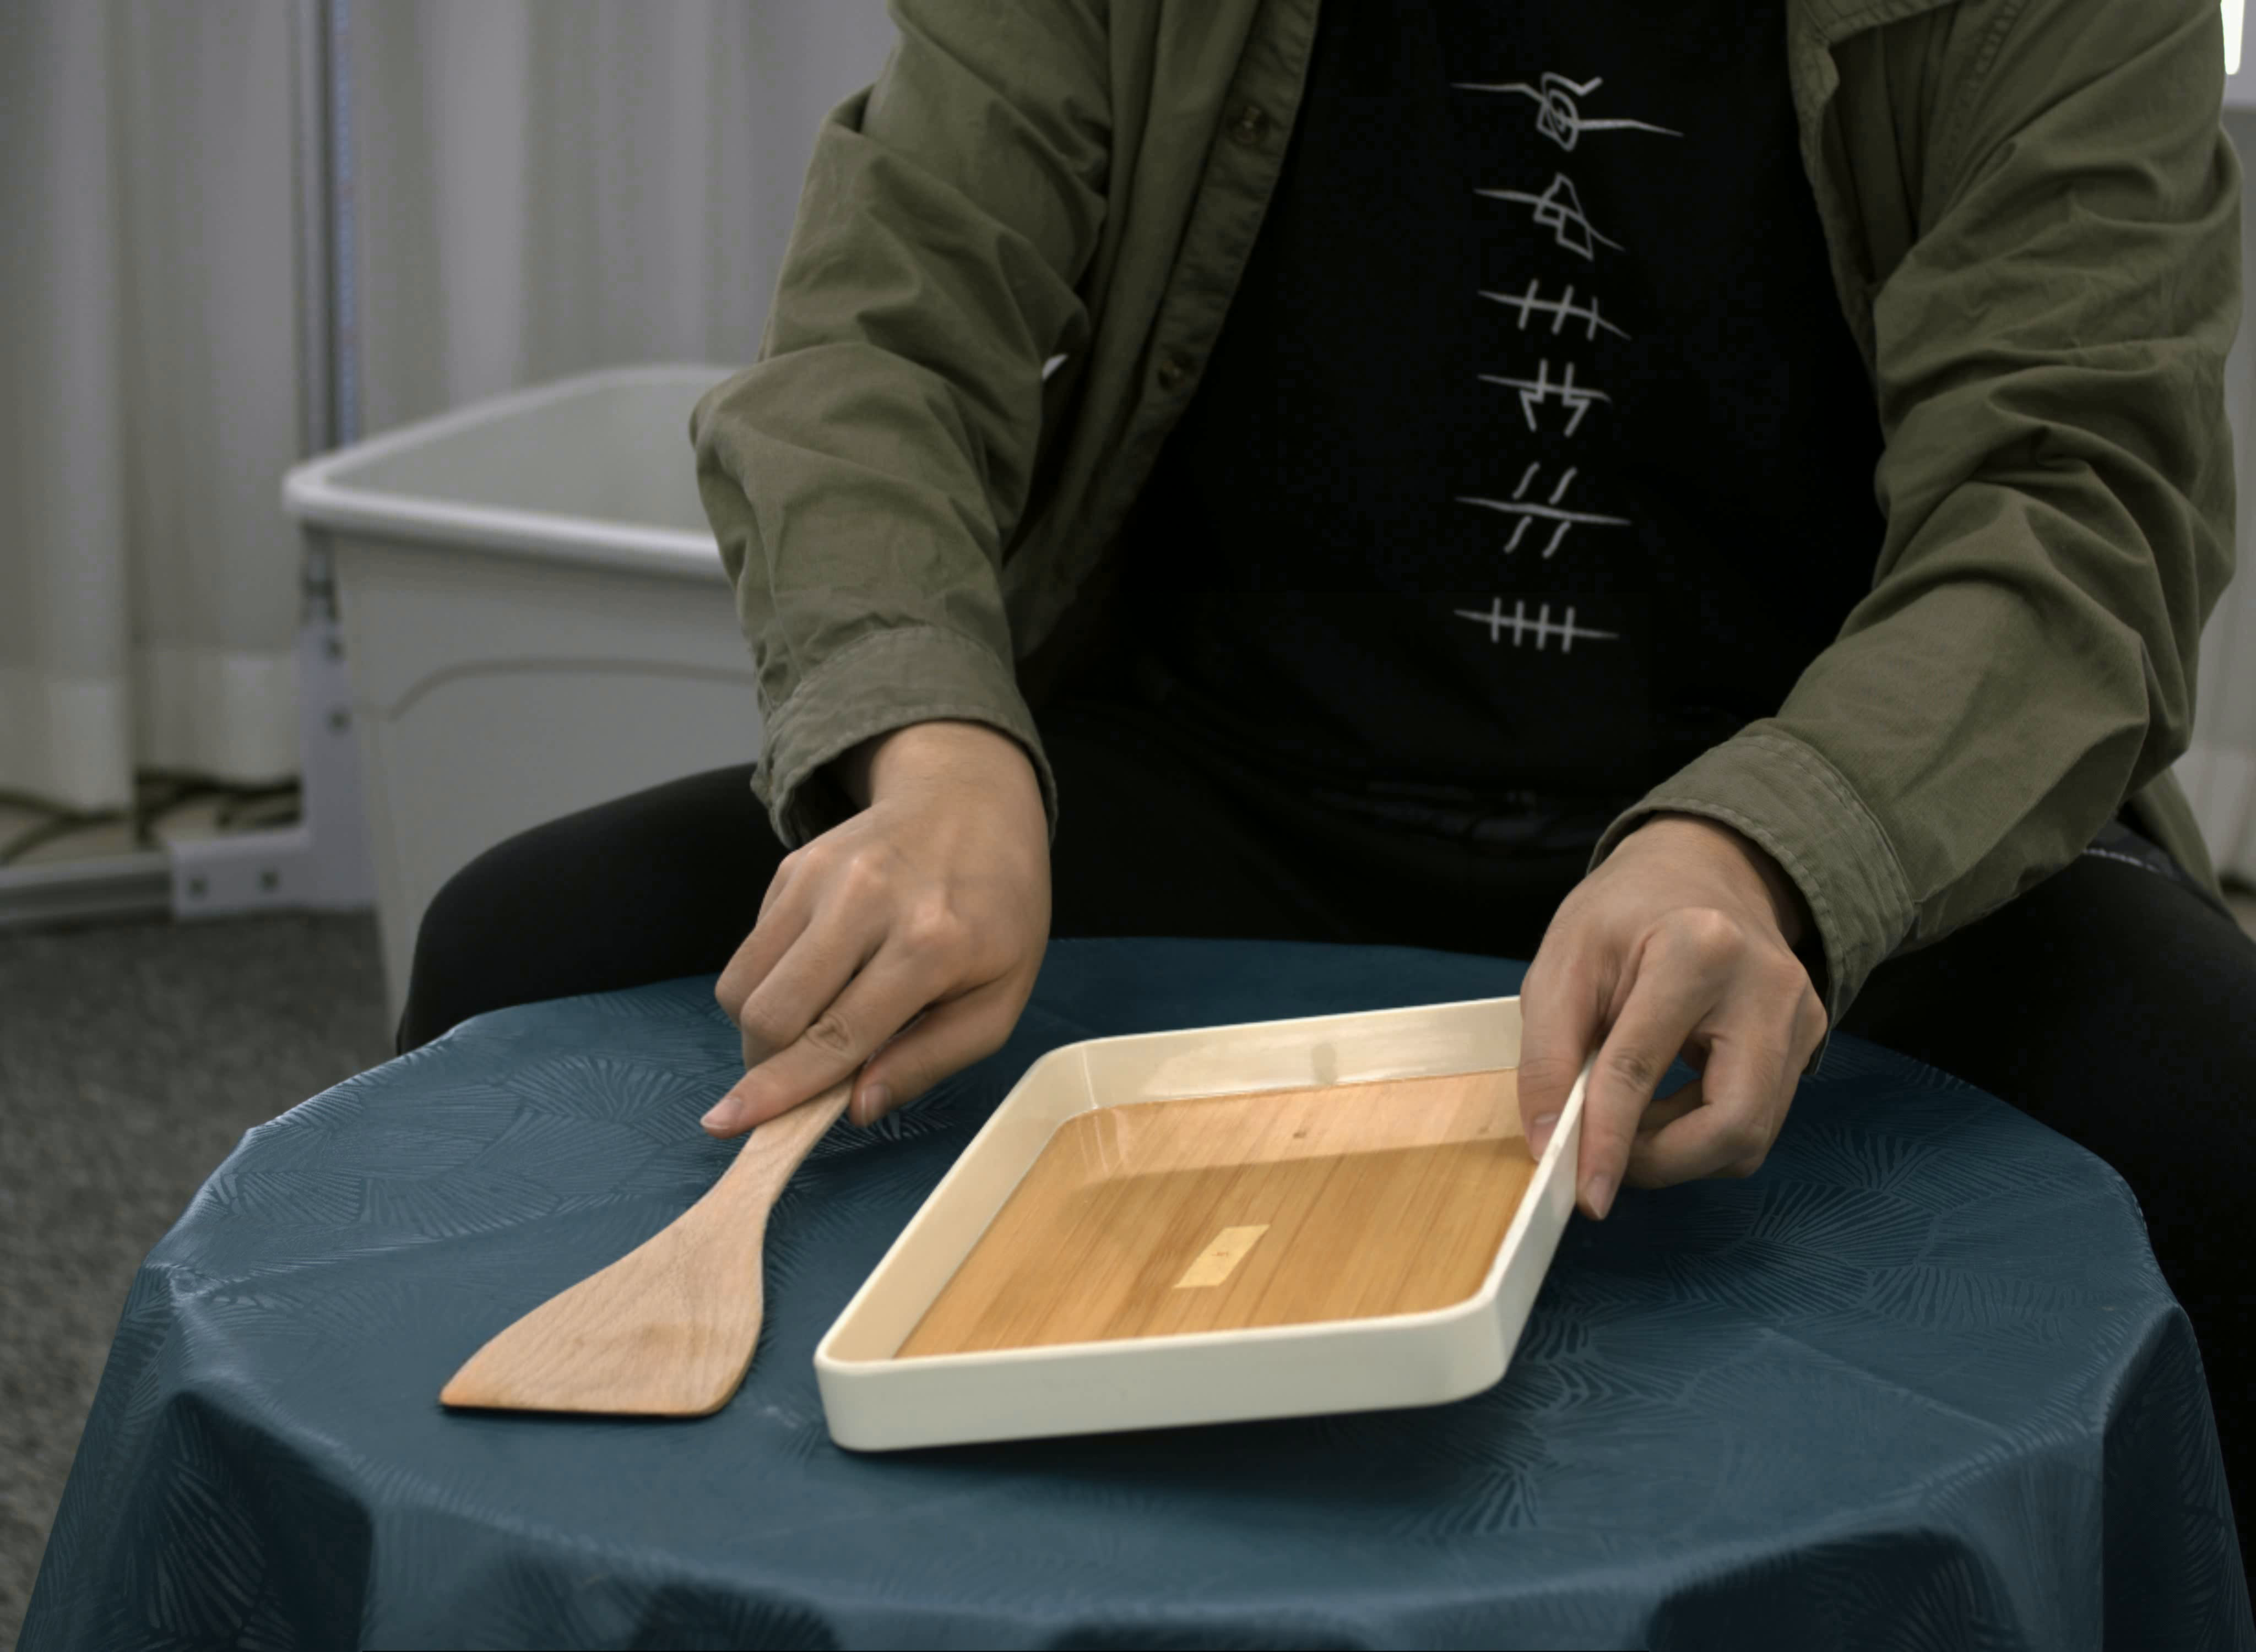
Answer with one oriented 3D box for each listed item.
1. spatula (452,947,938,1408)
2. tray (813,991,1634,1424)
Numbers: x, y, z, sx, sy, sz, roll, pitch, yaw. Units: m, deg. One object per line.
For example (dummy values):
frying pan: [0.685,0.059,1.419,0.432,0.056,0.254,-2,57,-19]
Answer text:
spatula: [-0.111,0.102,1.587,0.079,0.017,0.326,5,24,14]
tray: [0.037,0.107,1.537,0.190,0.027,0.300,-6,12,15]
